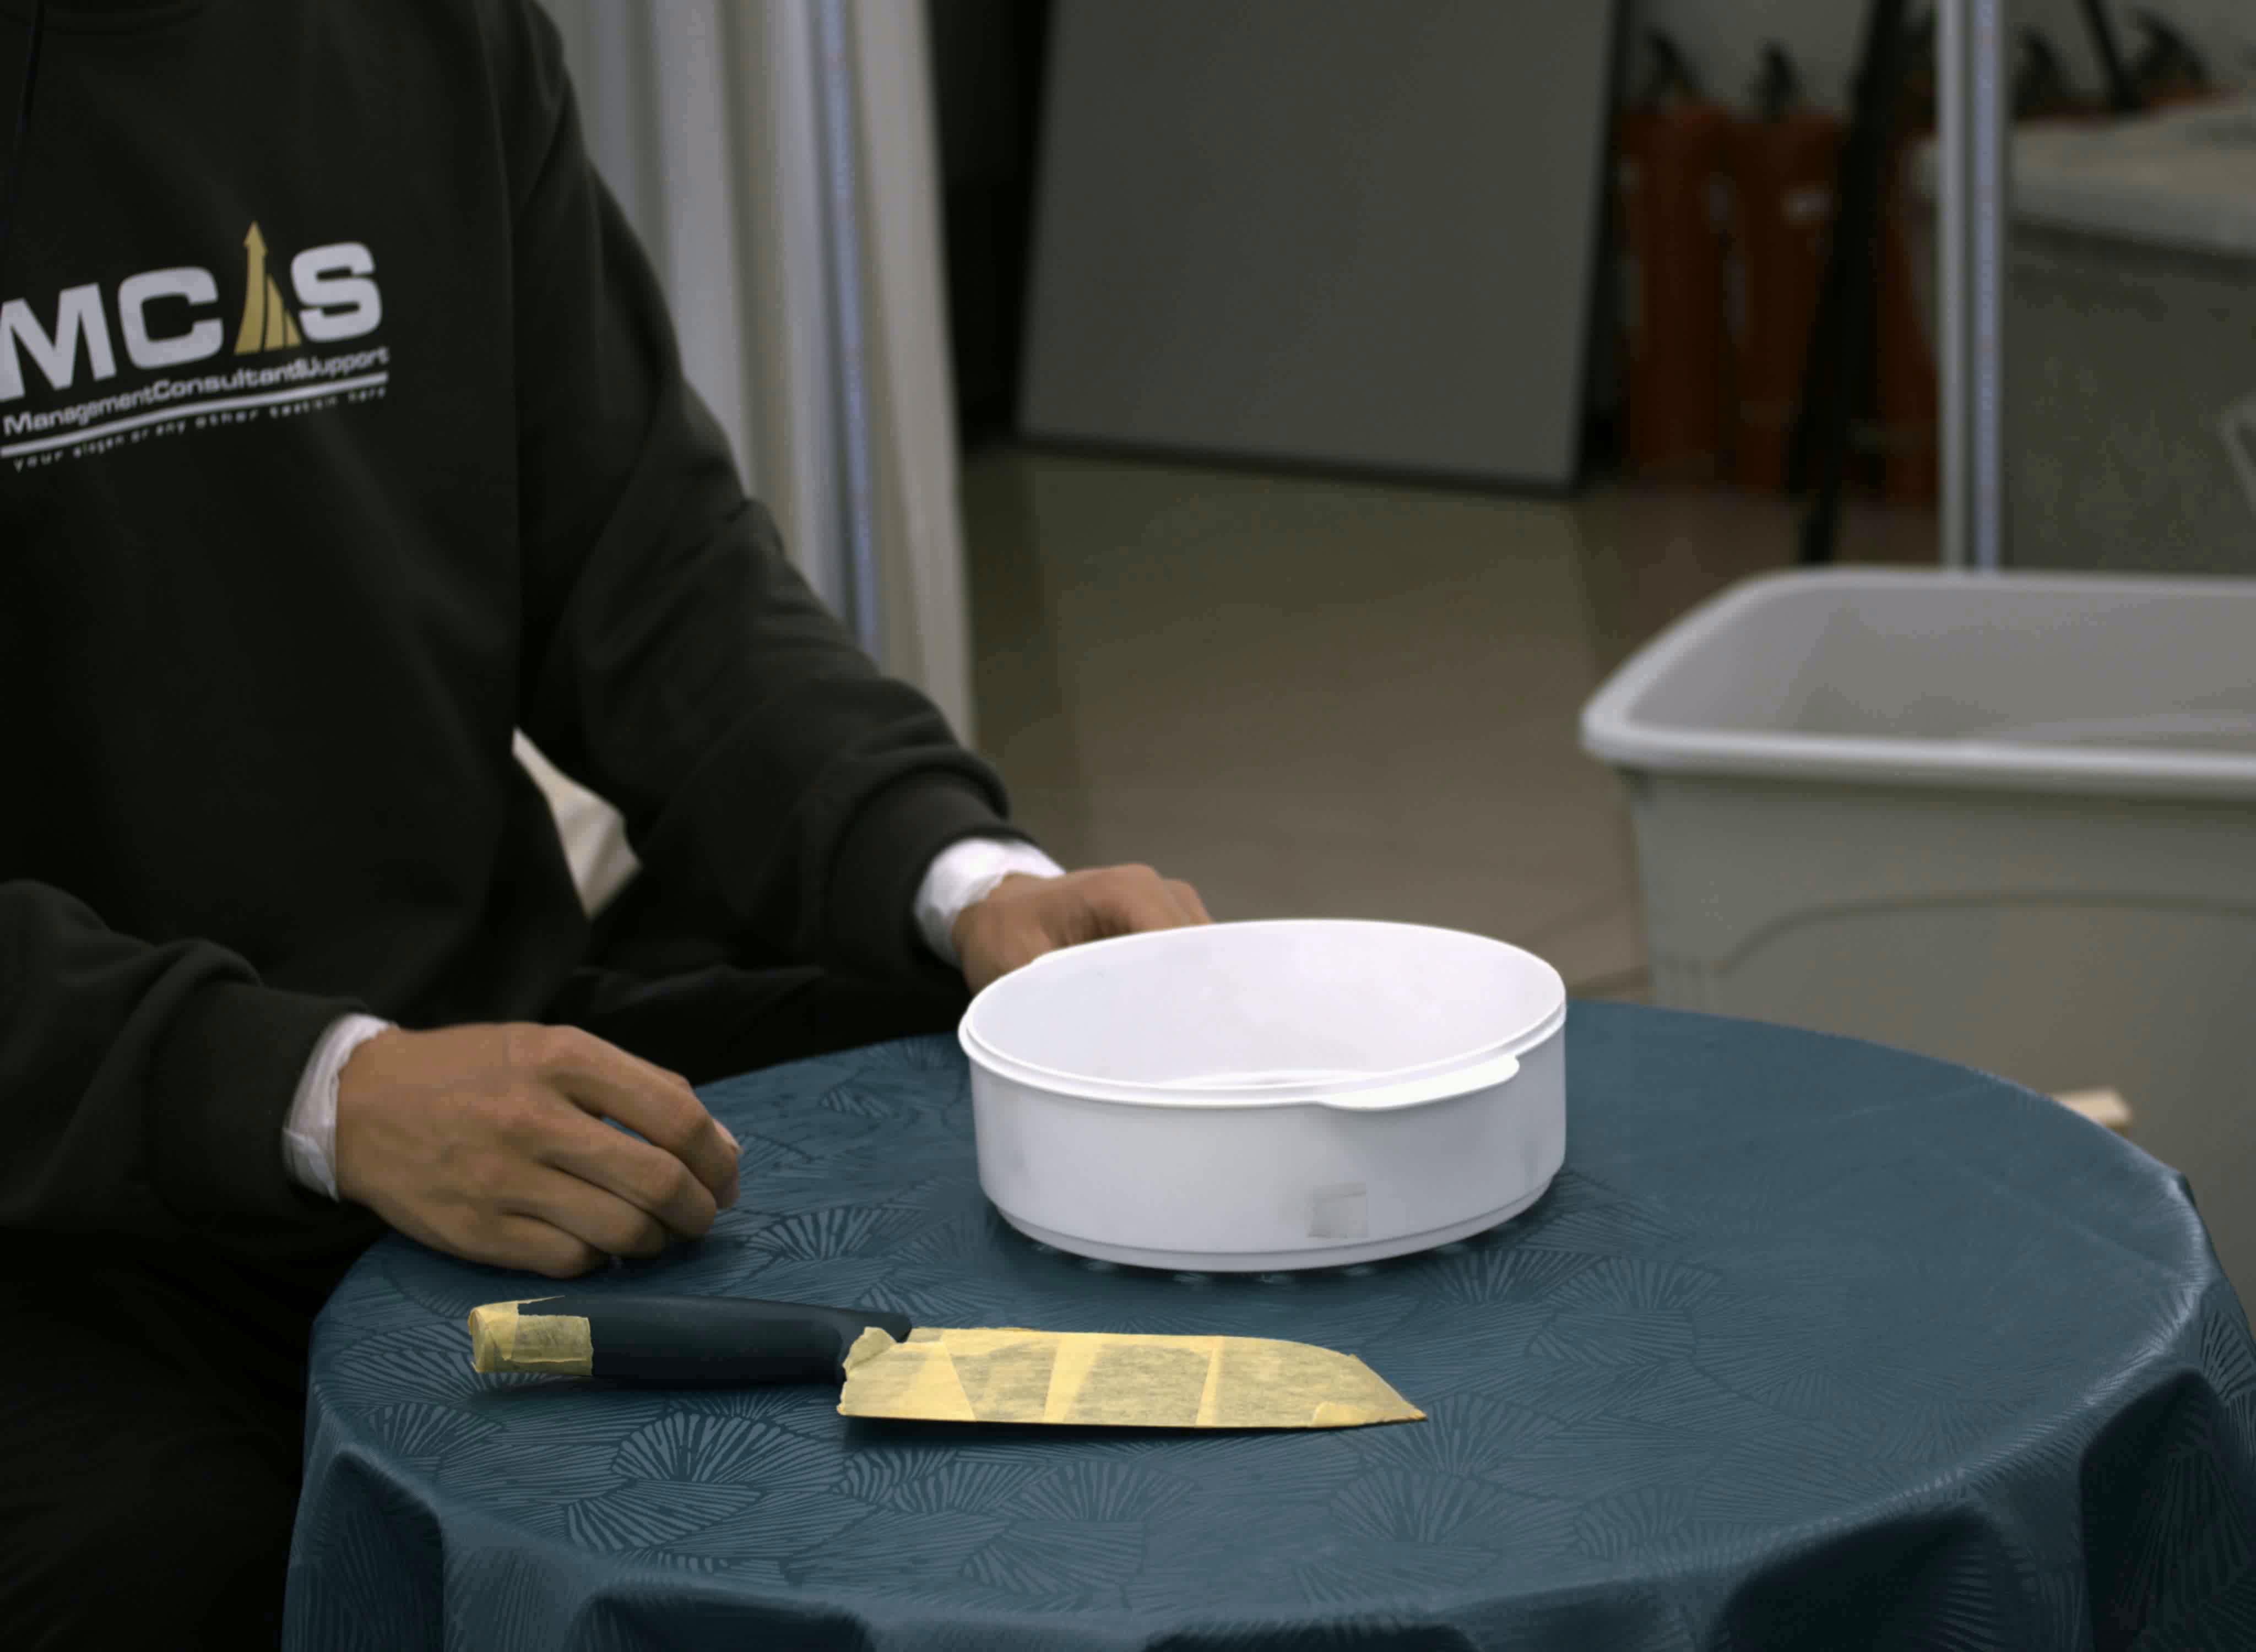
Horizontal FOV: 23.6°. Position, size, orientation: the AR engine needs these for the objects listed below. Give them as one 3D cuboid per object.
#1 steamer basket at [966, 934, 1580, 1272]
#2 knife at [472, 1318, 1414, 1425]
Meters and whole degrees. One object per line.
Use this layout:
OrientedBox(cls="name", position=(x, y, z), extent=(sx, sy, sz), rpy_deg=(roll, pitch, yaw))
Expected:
OrientedBox(cls="steamer basket", position=(0.049, 0.090, 1.748), extent=(0.197, 0.070, 0.233), rpy_deg=(-10, 13, -26))
OrientedBox(cls="knife", position=(-0.057, 0.163, 1.588), extent=(0.287, 0.027, 0.080), rpy_deg=(-1, 12, 10))
